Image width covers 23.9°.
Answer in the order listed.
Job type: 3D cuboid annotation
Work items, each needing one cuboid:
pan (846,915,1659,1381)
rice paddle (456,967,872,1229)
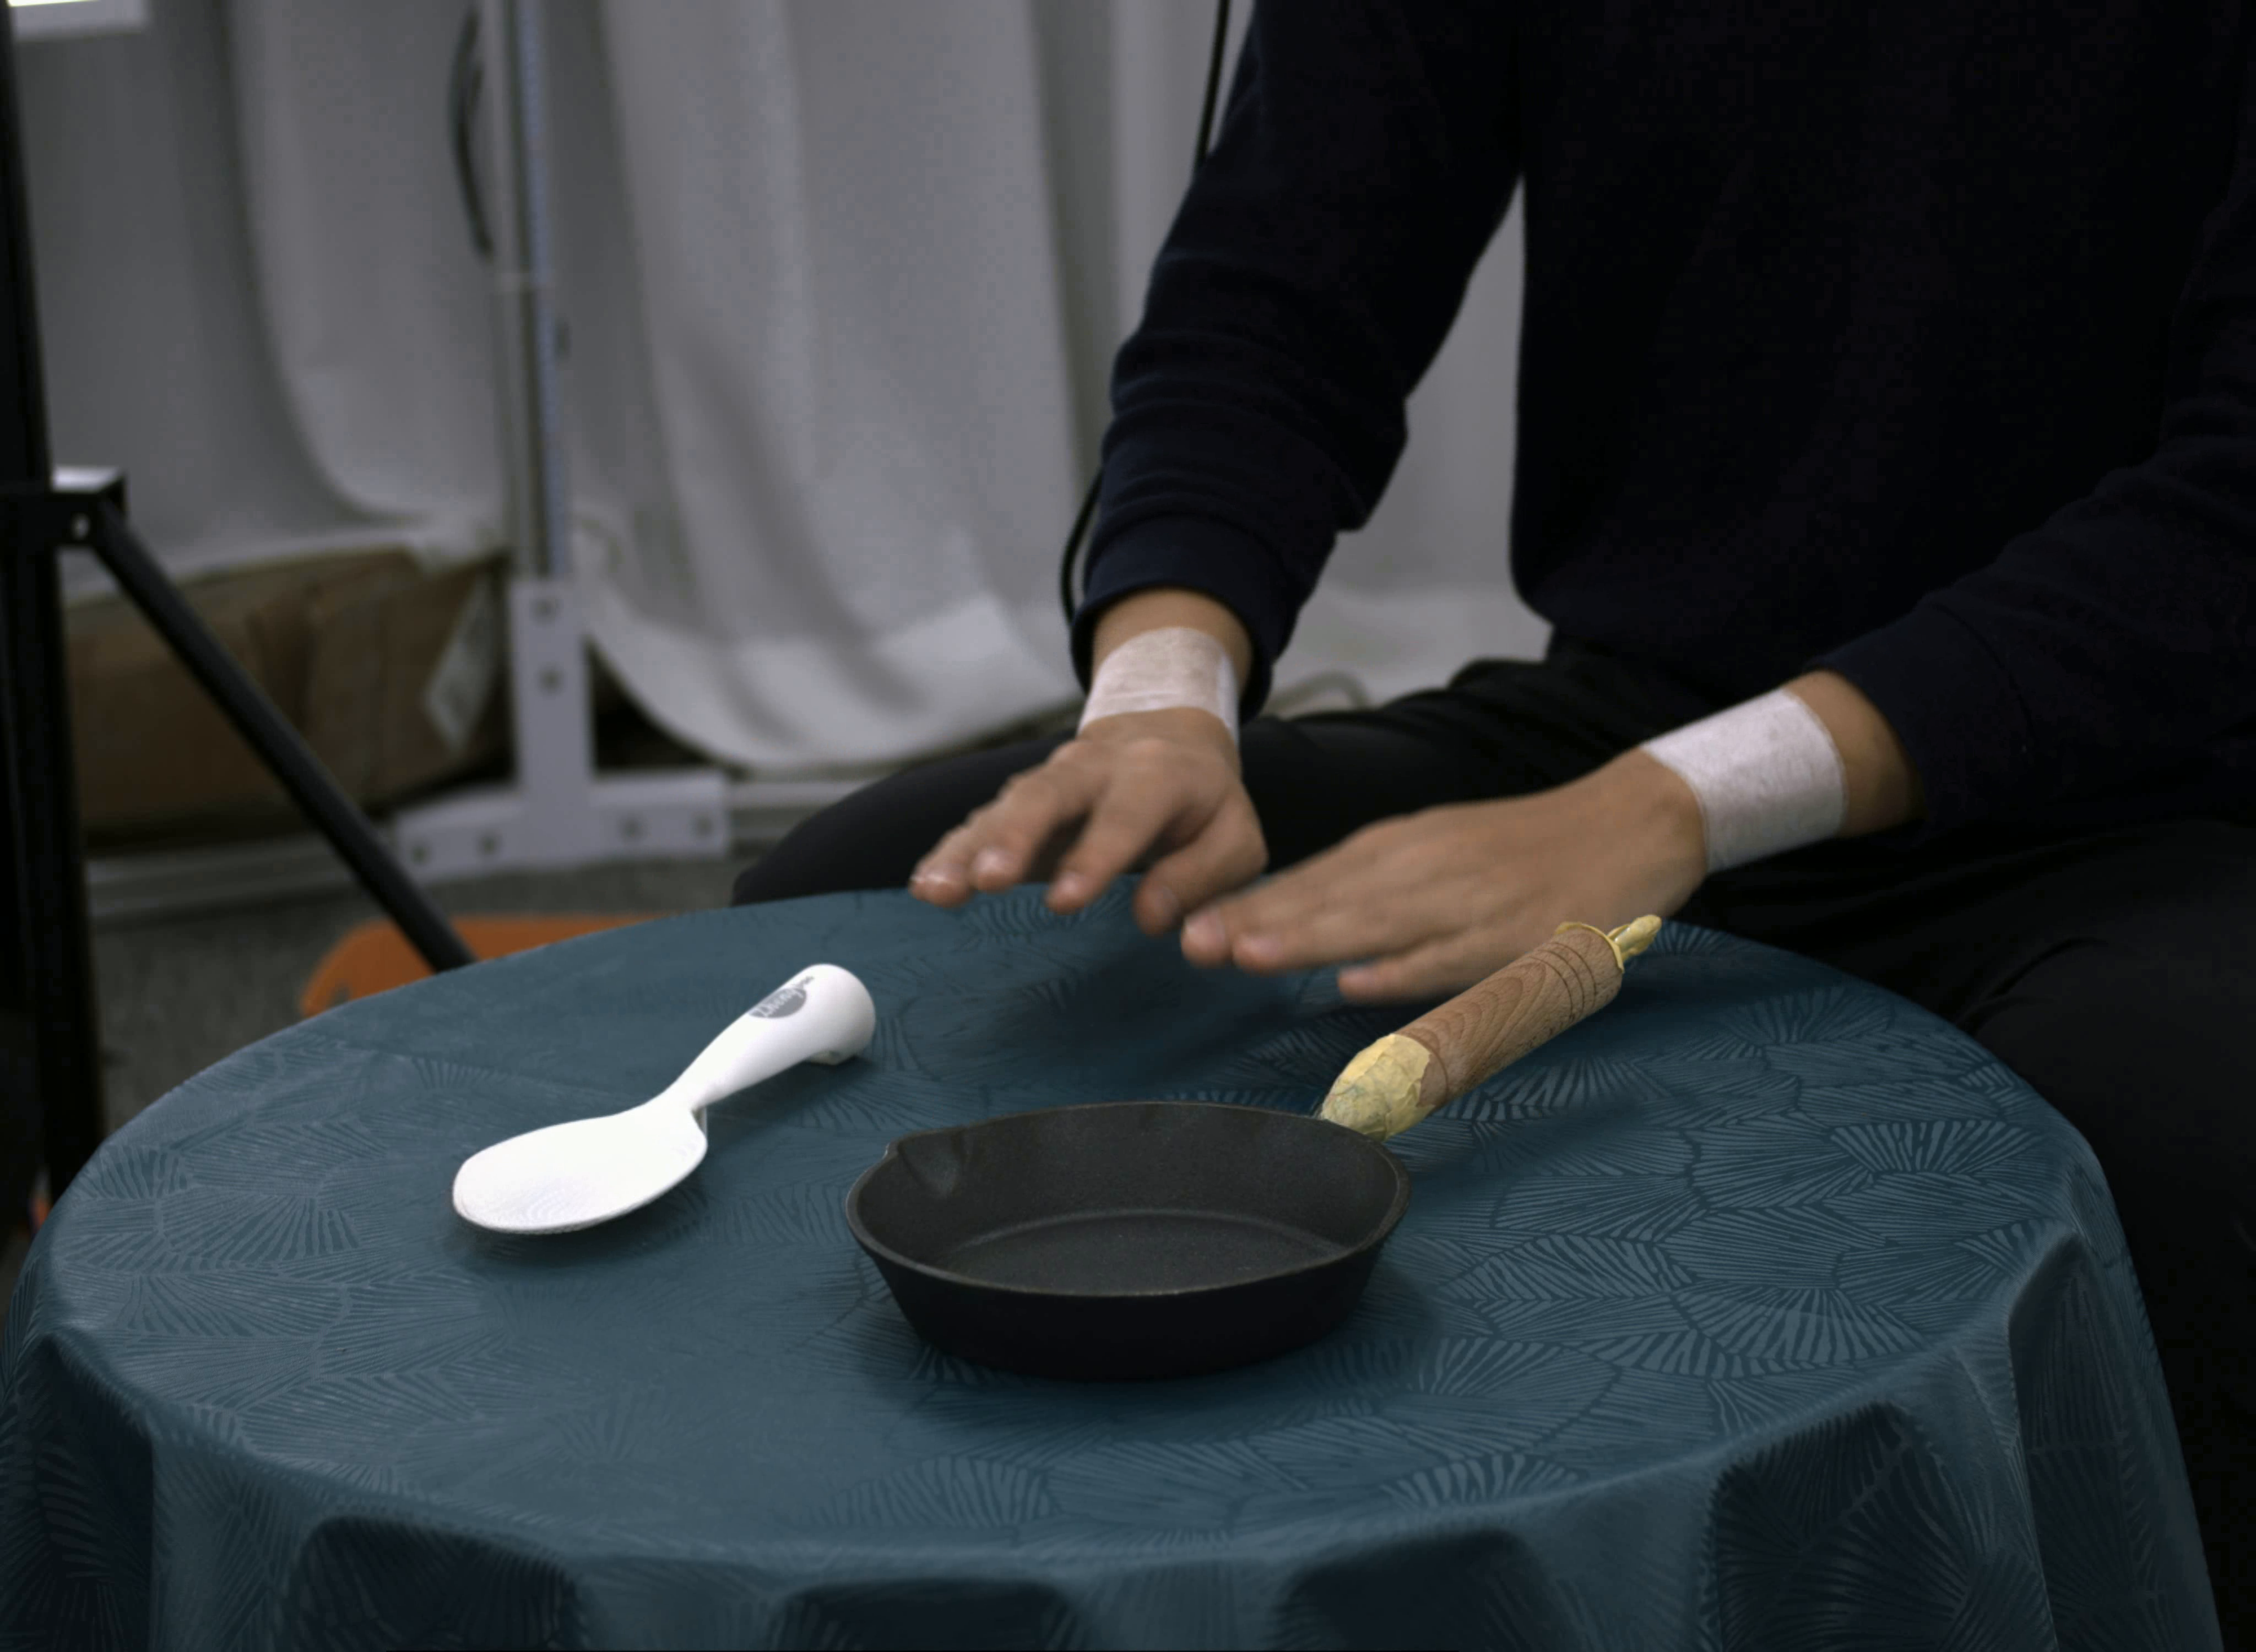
[{"bbox_3d":[0.056,0.089,1.524,0.173,0.049,0.317,12,23,42],"label":"pan"},{"bbox_3d":[-0.135,0.085,1.609,0.070,0.029,0.202,1,16,25],"label":"rice paddle"}]
